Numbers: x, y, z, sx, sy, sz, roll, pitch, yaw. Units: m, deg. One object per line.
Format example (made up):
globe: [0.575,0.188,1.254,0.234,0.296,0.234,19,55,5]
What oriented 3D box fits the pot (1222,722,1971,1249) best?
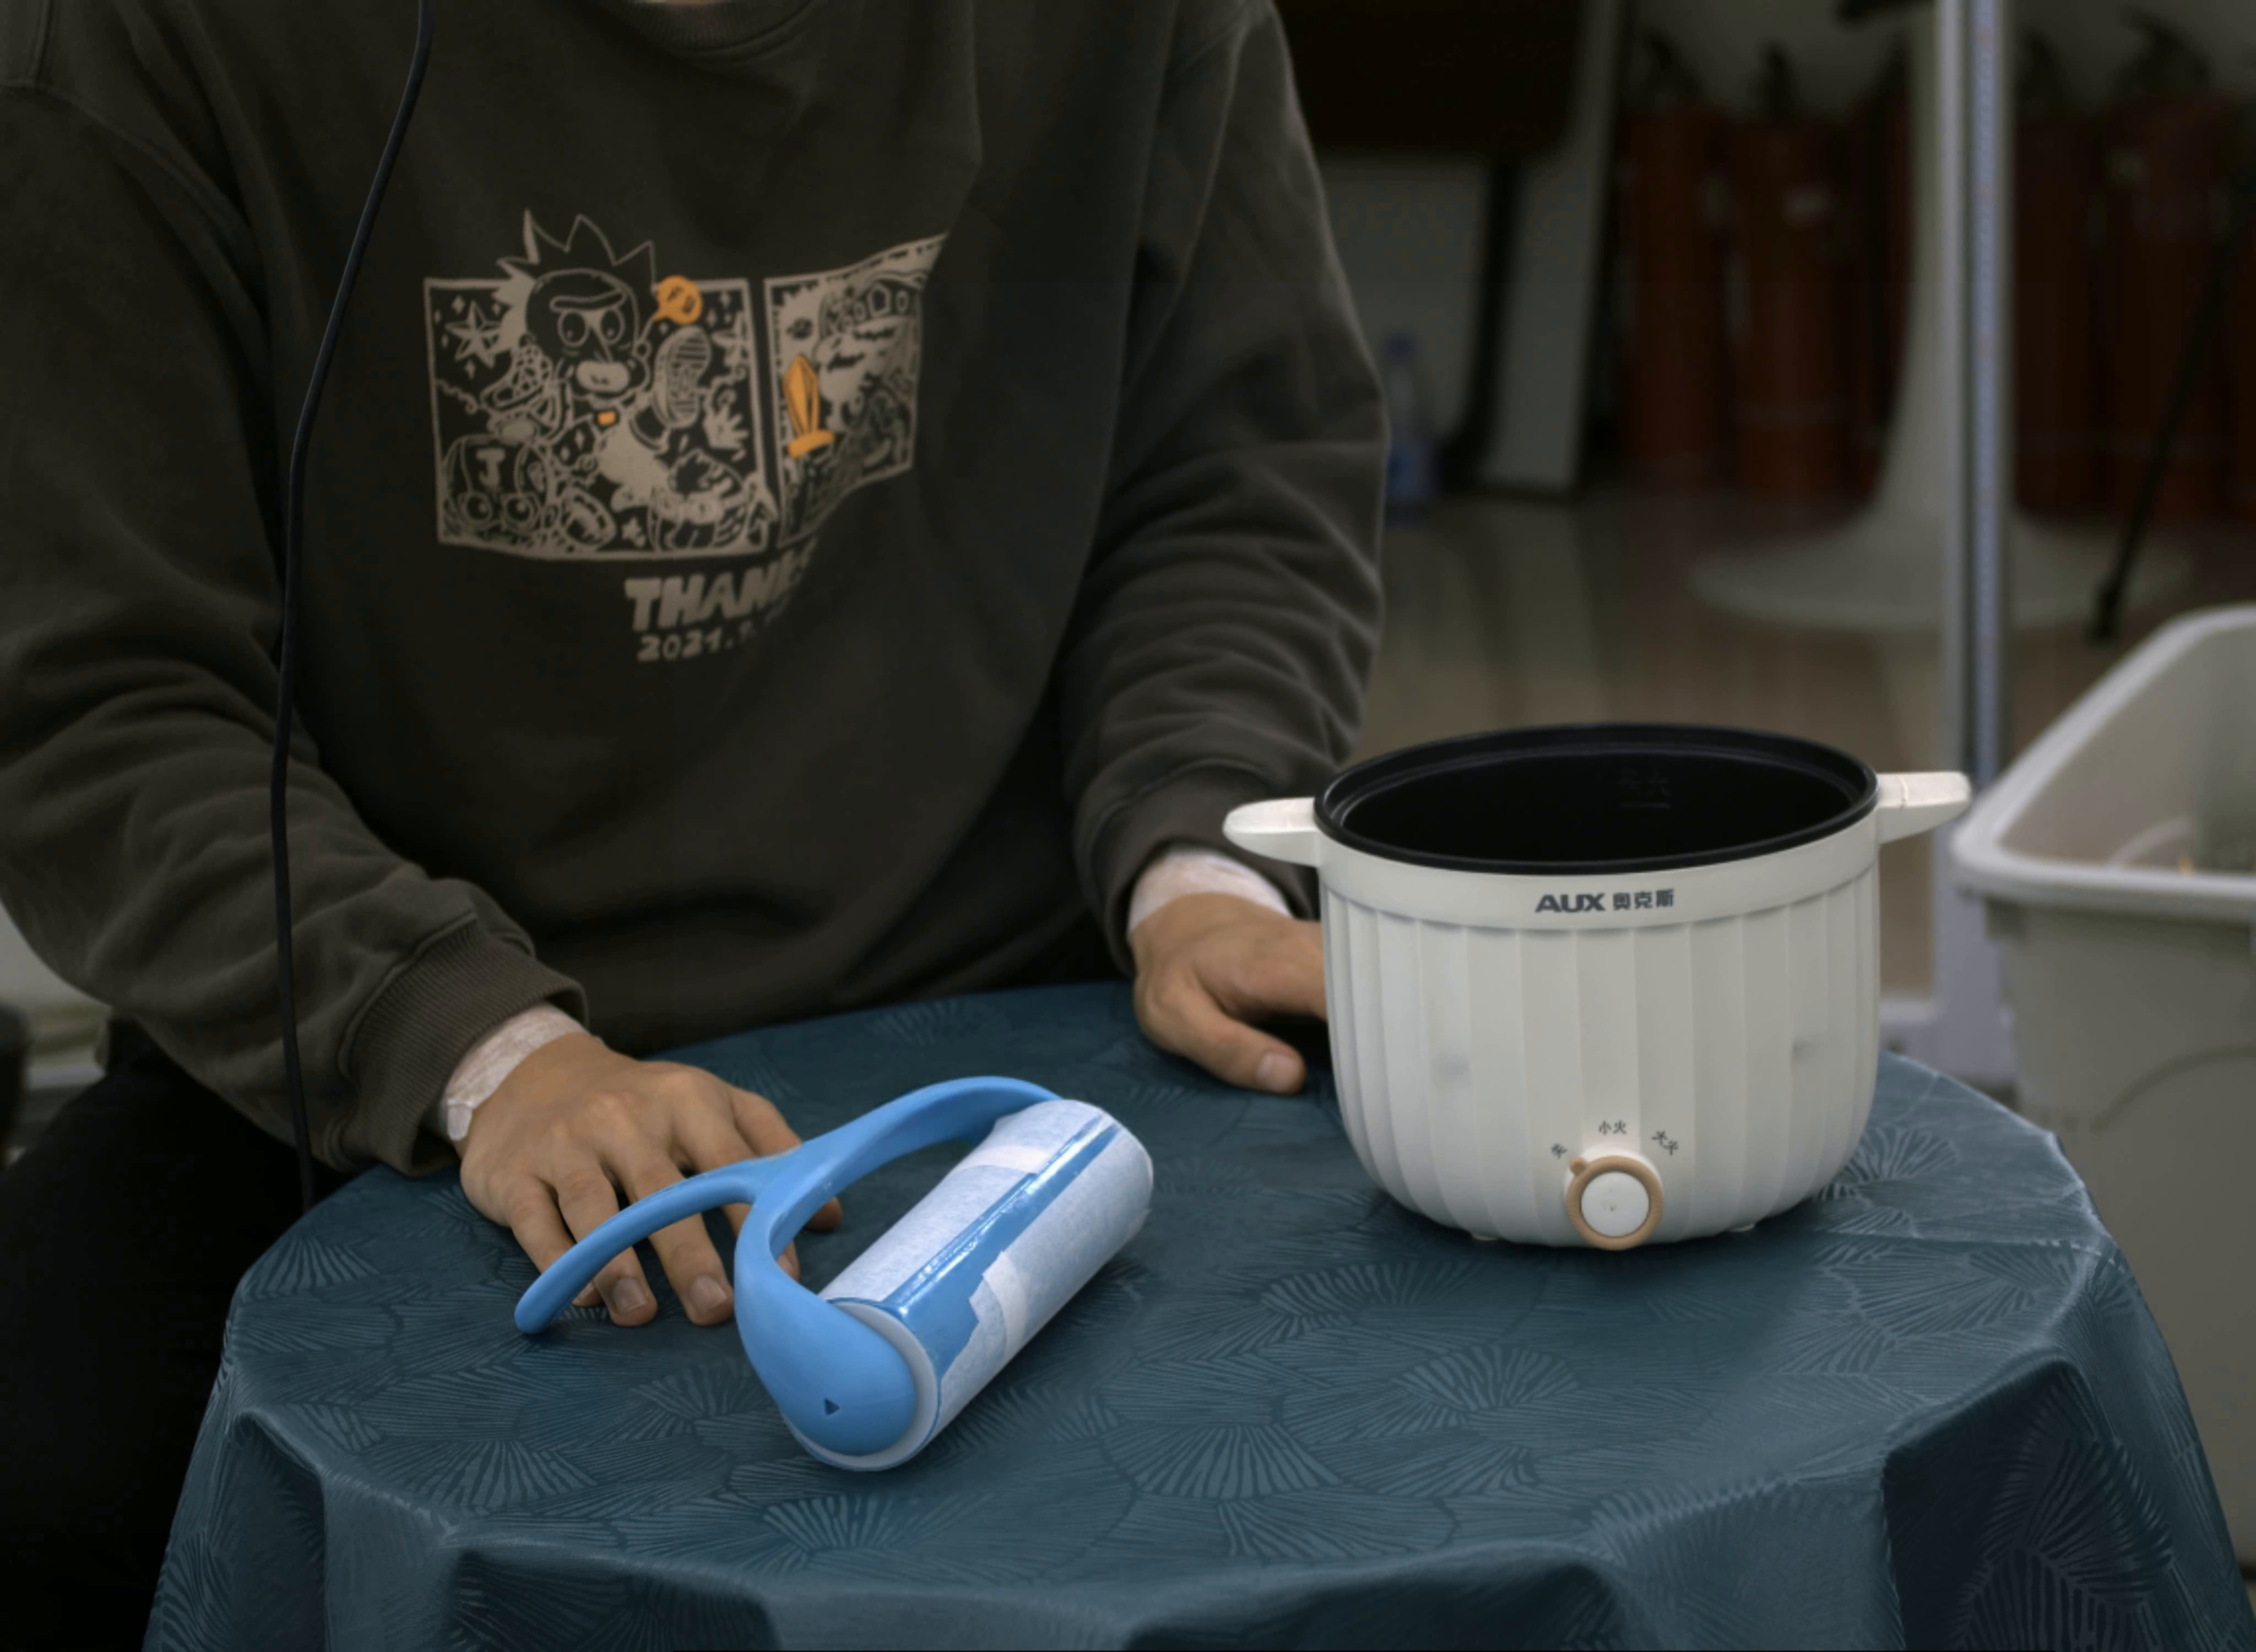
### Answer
pot: [0.153,0.053,1.715,0.238,0.144,0.190,-4,10,5]

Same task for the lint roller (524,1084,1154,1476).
lint roller: [-0.103,0.133,1.636,0.180,0.068,0.227,2,16,17]
